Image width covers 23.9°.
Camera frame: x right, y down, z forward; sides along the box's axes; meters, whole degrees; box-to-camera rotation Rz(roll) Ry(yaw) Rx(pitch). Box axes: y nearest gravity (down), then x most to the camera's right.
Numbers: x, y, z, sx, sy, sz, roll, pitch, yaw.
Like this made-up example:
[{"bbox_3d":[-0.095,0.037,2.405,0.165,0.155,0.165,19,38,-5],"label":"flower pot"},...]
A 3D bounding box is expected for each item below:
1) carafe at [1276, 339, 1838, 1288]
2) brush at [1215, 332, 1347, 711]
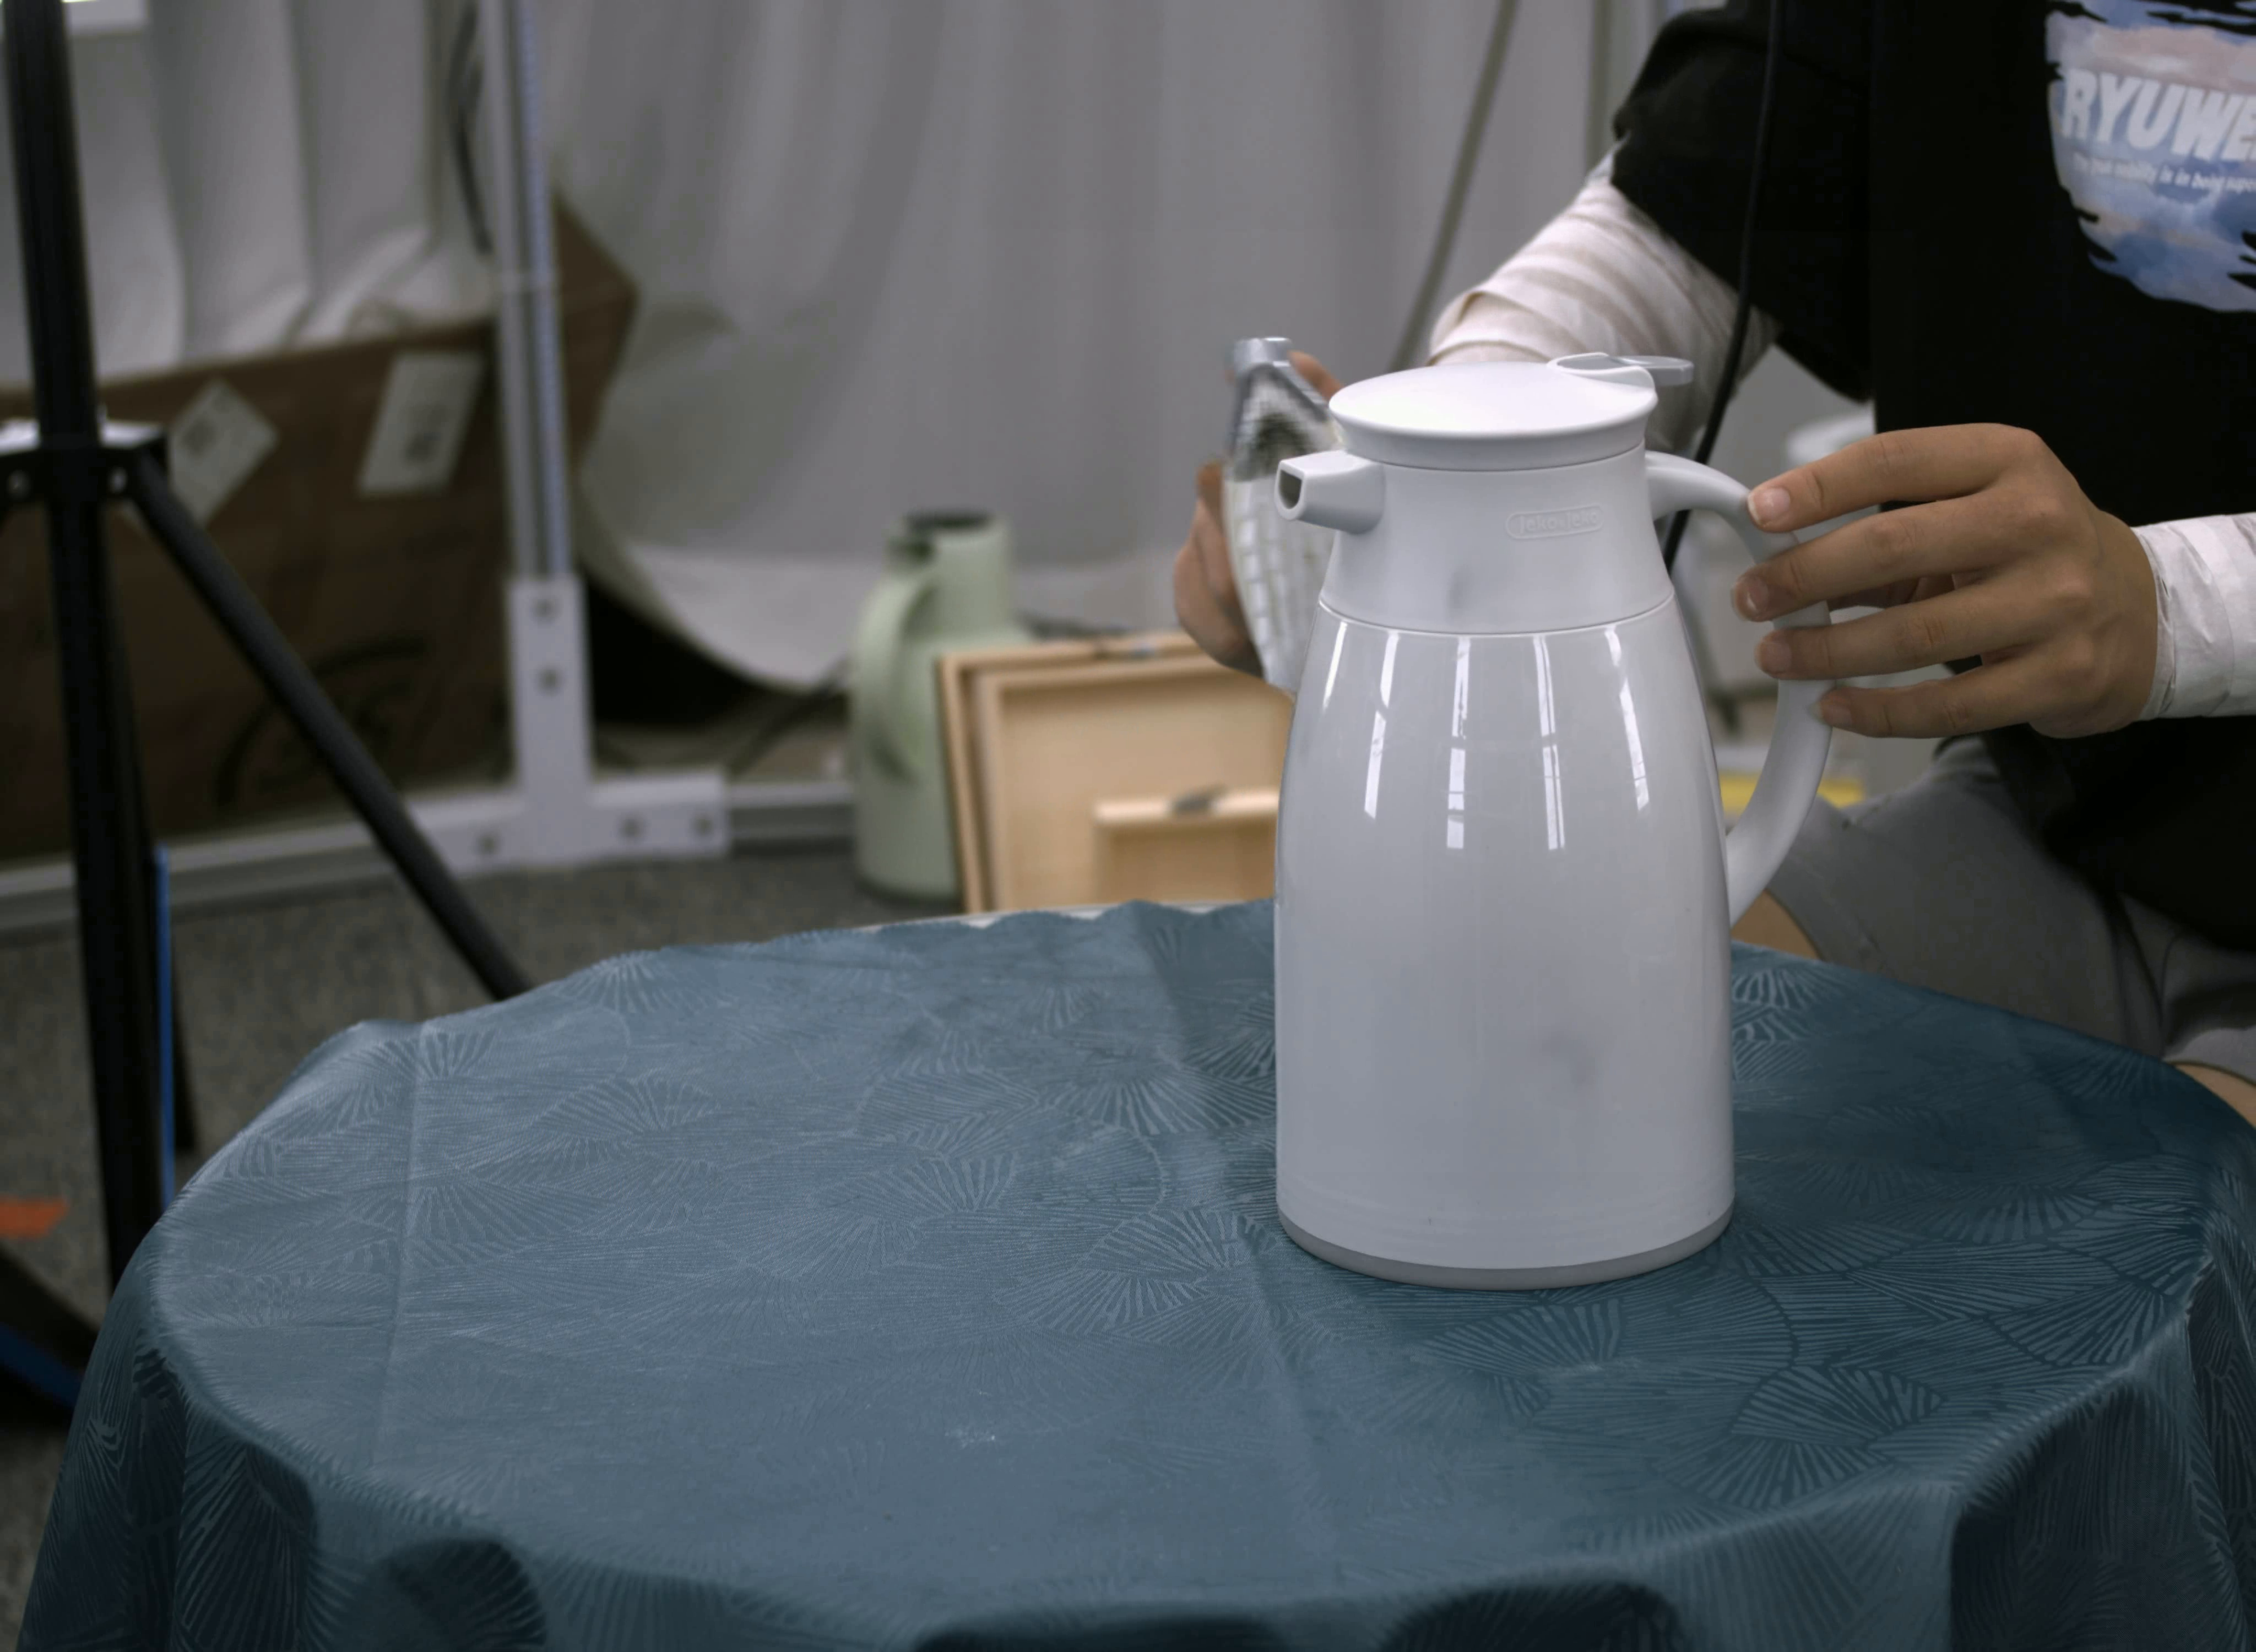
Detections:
[{"bbox_3d":[0.123,-0.011,1.505,0.164,0.248,0.135,-7,16,-19],"label":"carafe"},{"bbox_3d":[0.057,-0.094,1.617,0.061,0.172,0.096,-23,48,3],"label":"brush"}]
